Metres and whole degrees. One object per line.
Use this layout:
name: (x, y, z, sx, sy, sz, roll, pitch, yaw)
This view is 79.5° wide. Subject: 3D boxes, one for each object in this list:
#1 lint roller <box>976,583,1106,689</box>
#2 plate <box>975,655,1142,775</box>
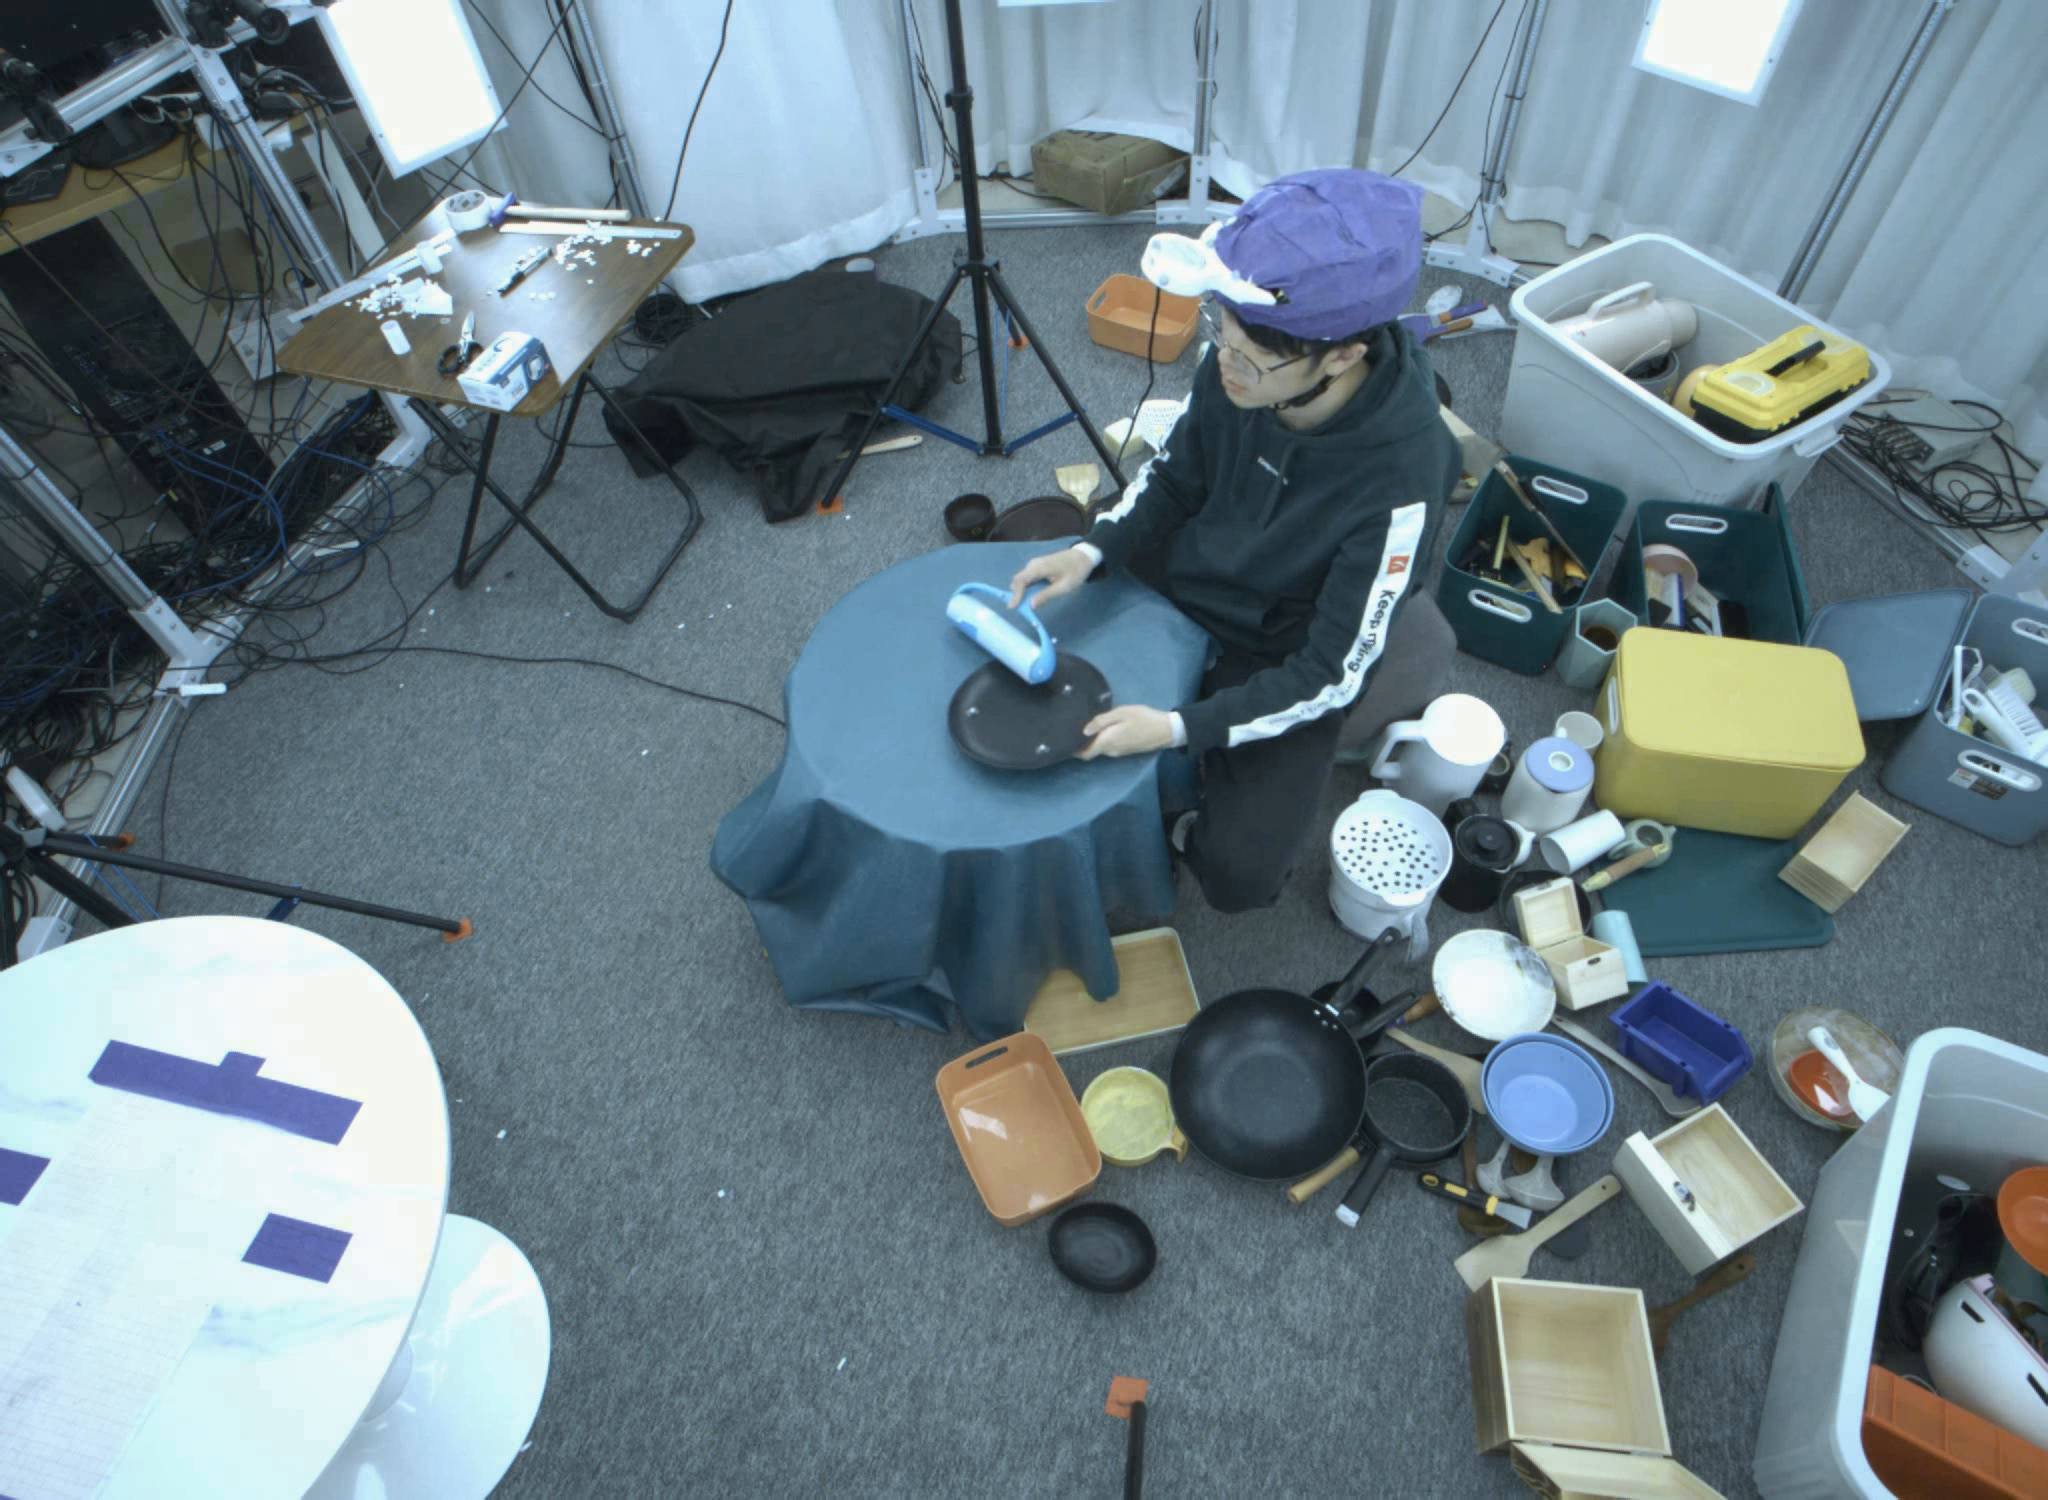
lint roller: (0.048, -0.206, 1.859, 0.181, 0.069, 0.224, -45, 57, -11)
plate: (0.050, -0.050, 1.788, 0.243, 0.024, 0.242, -3, 48, 5)
